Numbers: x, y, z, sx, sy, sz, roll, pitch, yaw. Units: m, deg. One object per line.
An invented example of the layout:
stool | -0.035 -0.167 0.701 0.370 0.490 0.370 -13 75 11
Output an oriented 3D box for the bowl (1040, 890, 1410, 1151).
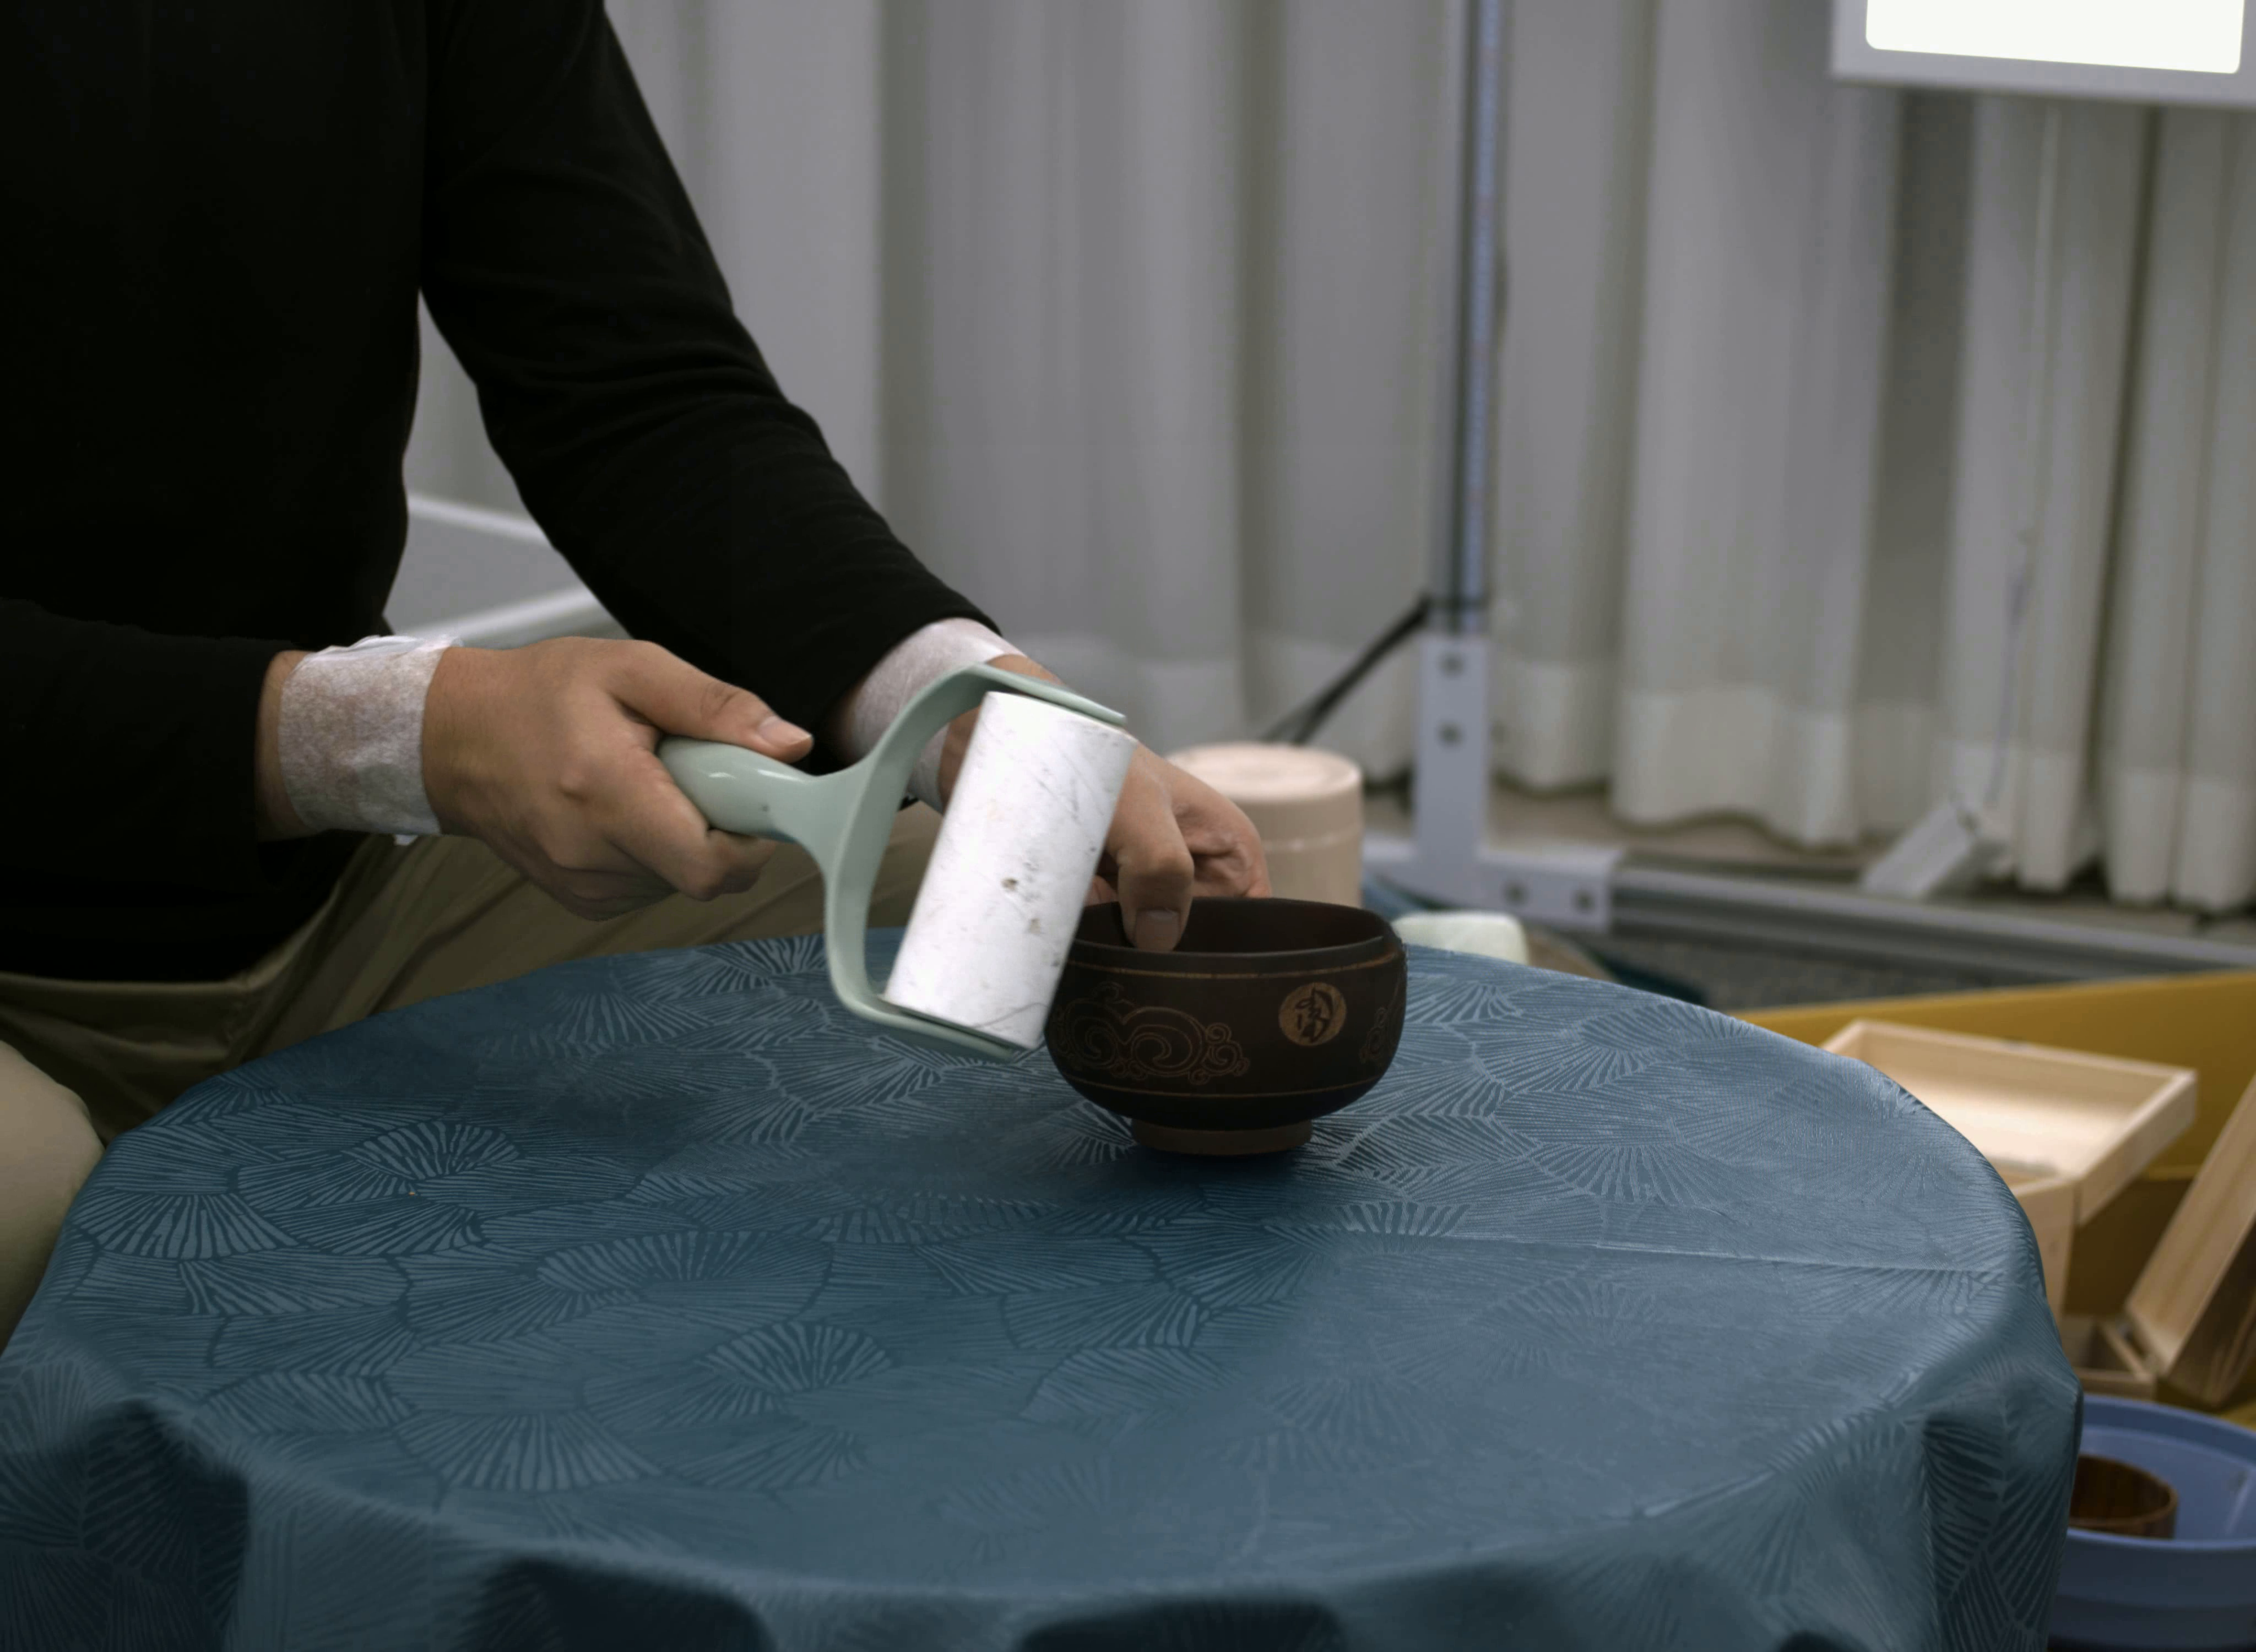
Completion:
bowl | 0.030 0.063 1.654 0.117 0.070 0.117 0 8 1

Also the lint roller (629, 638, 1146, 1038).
lint roller | -0.087 -0.009 1.623 0.195 0.117 0.049 15 -3 35
